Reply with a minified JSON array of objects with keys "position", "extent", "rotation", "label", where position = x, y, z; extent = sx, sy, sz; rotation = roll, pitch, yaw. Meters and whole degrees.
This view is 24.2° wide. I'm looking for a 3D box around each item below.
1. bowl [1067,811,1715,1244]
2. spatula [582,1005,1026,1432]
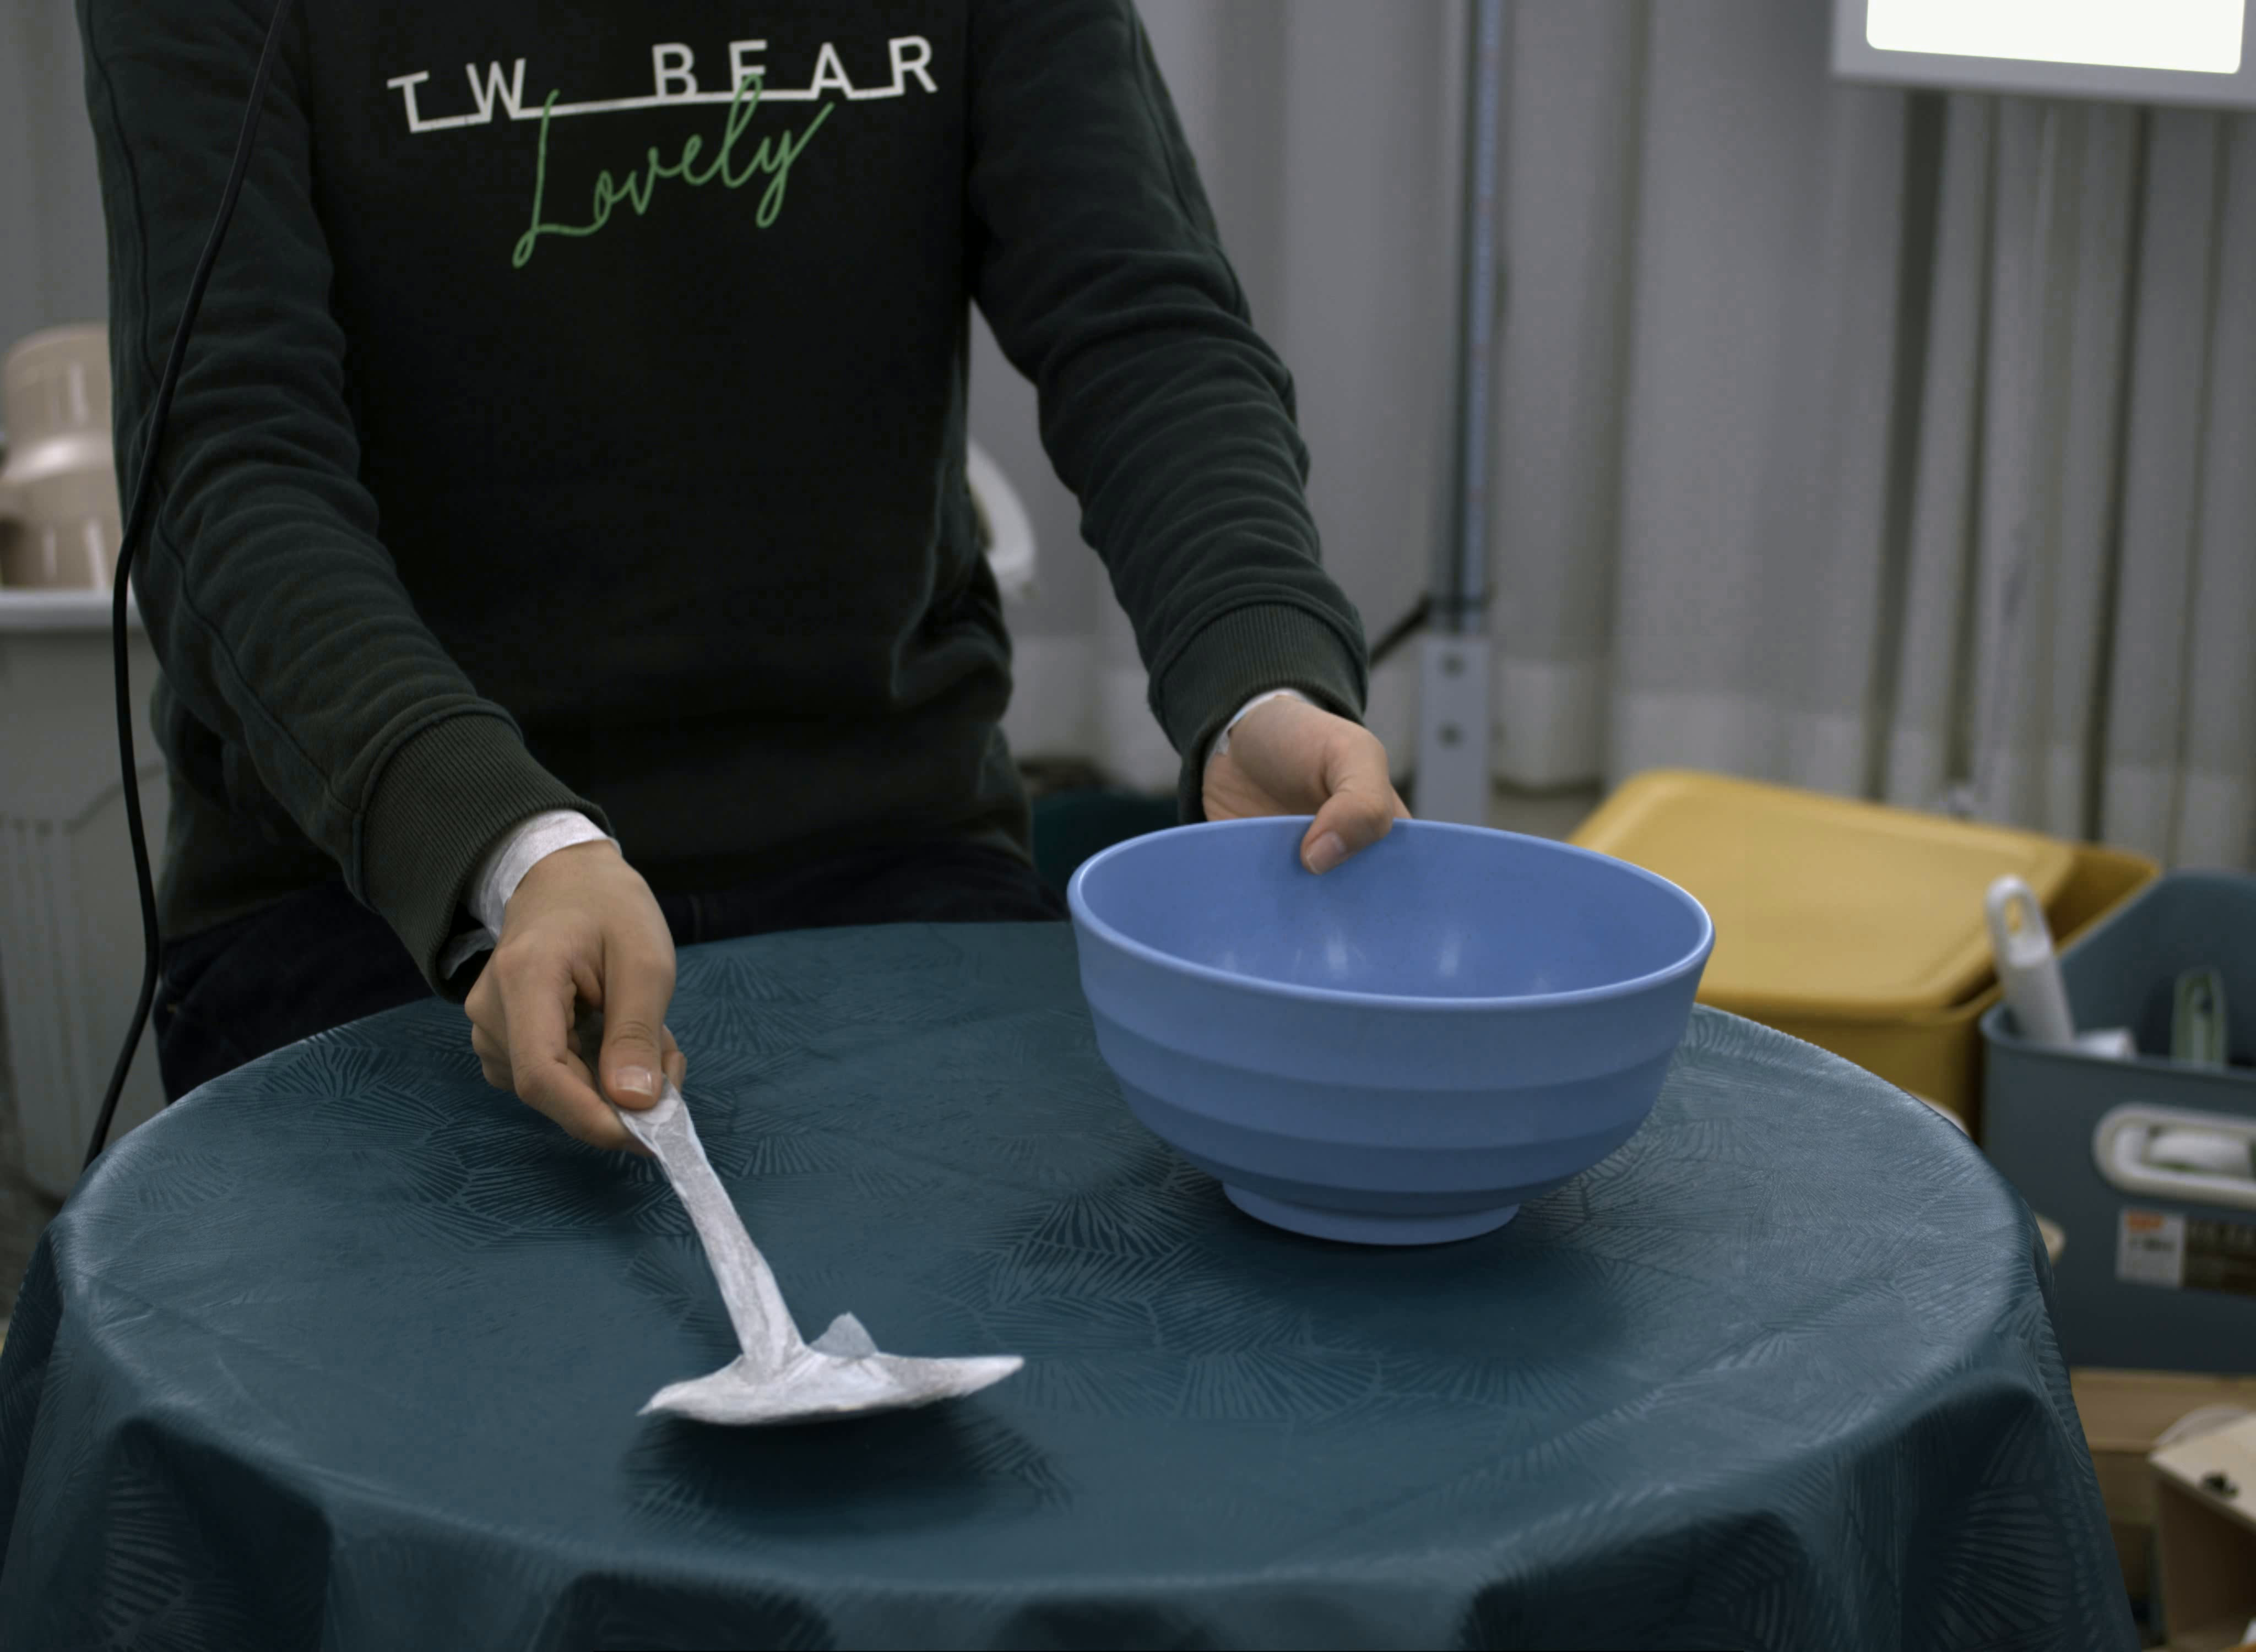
[{"position":[0.077,0.067,1.604],"extent":[0.196,0.096,0.195],"rotation":[3,17,0],"label":"bowl"},{"position":[-0.119,0.106,1.537],"extent":[0.099,0.045,0.360],"rotation":[-7,23,-16],"label":"spatula"}]
